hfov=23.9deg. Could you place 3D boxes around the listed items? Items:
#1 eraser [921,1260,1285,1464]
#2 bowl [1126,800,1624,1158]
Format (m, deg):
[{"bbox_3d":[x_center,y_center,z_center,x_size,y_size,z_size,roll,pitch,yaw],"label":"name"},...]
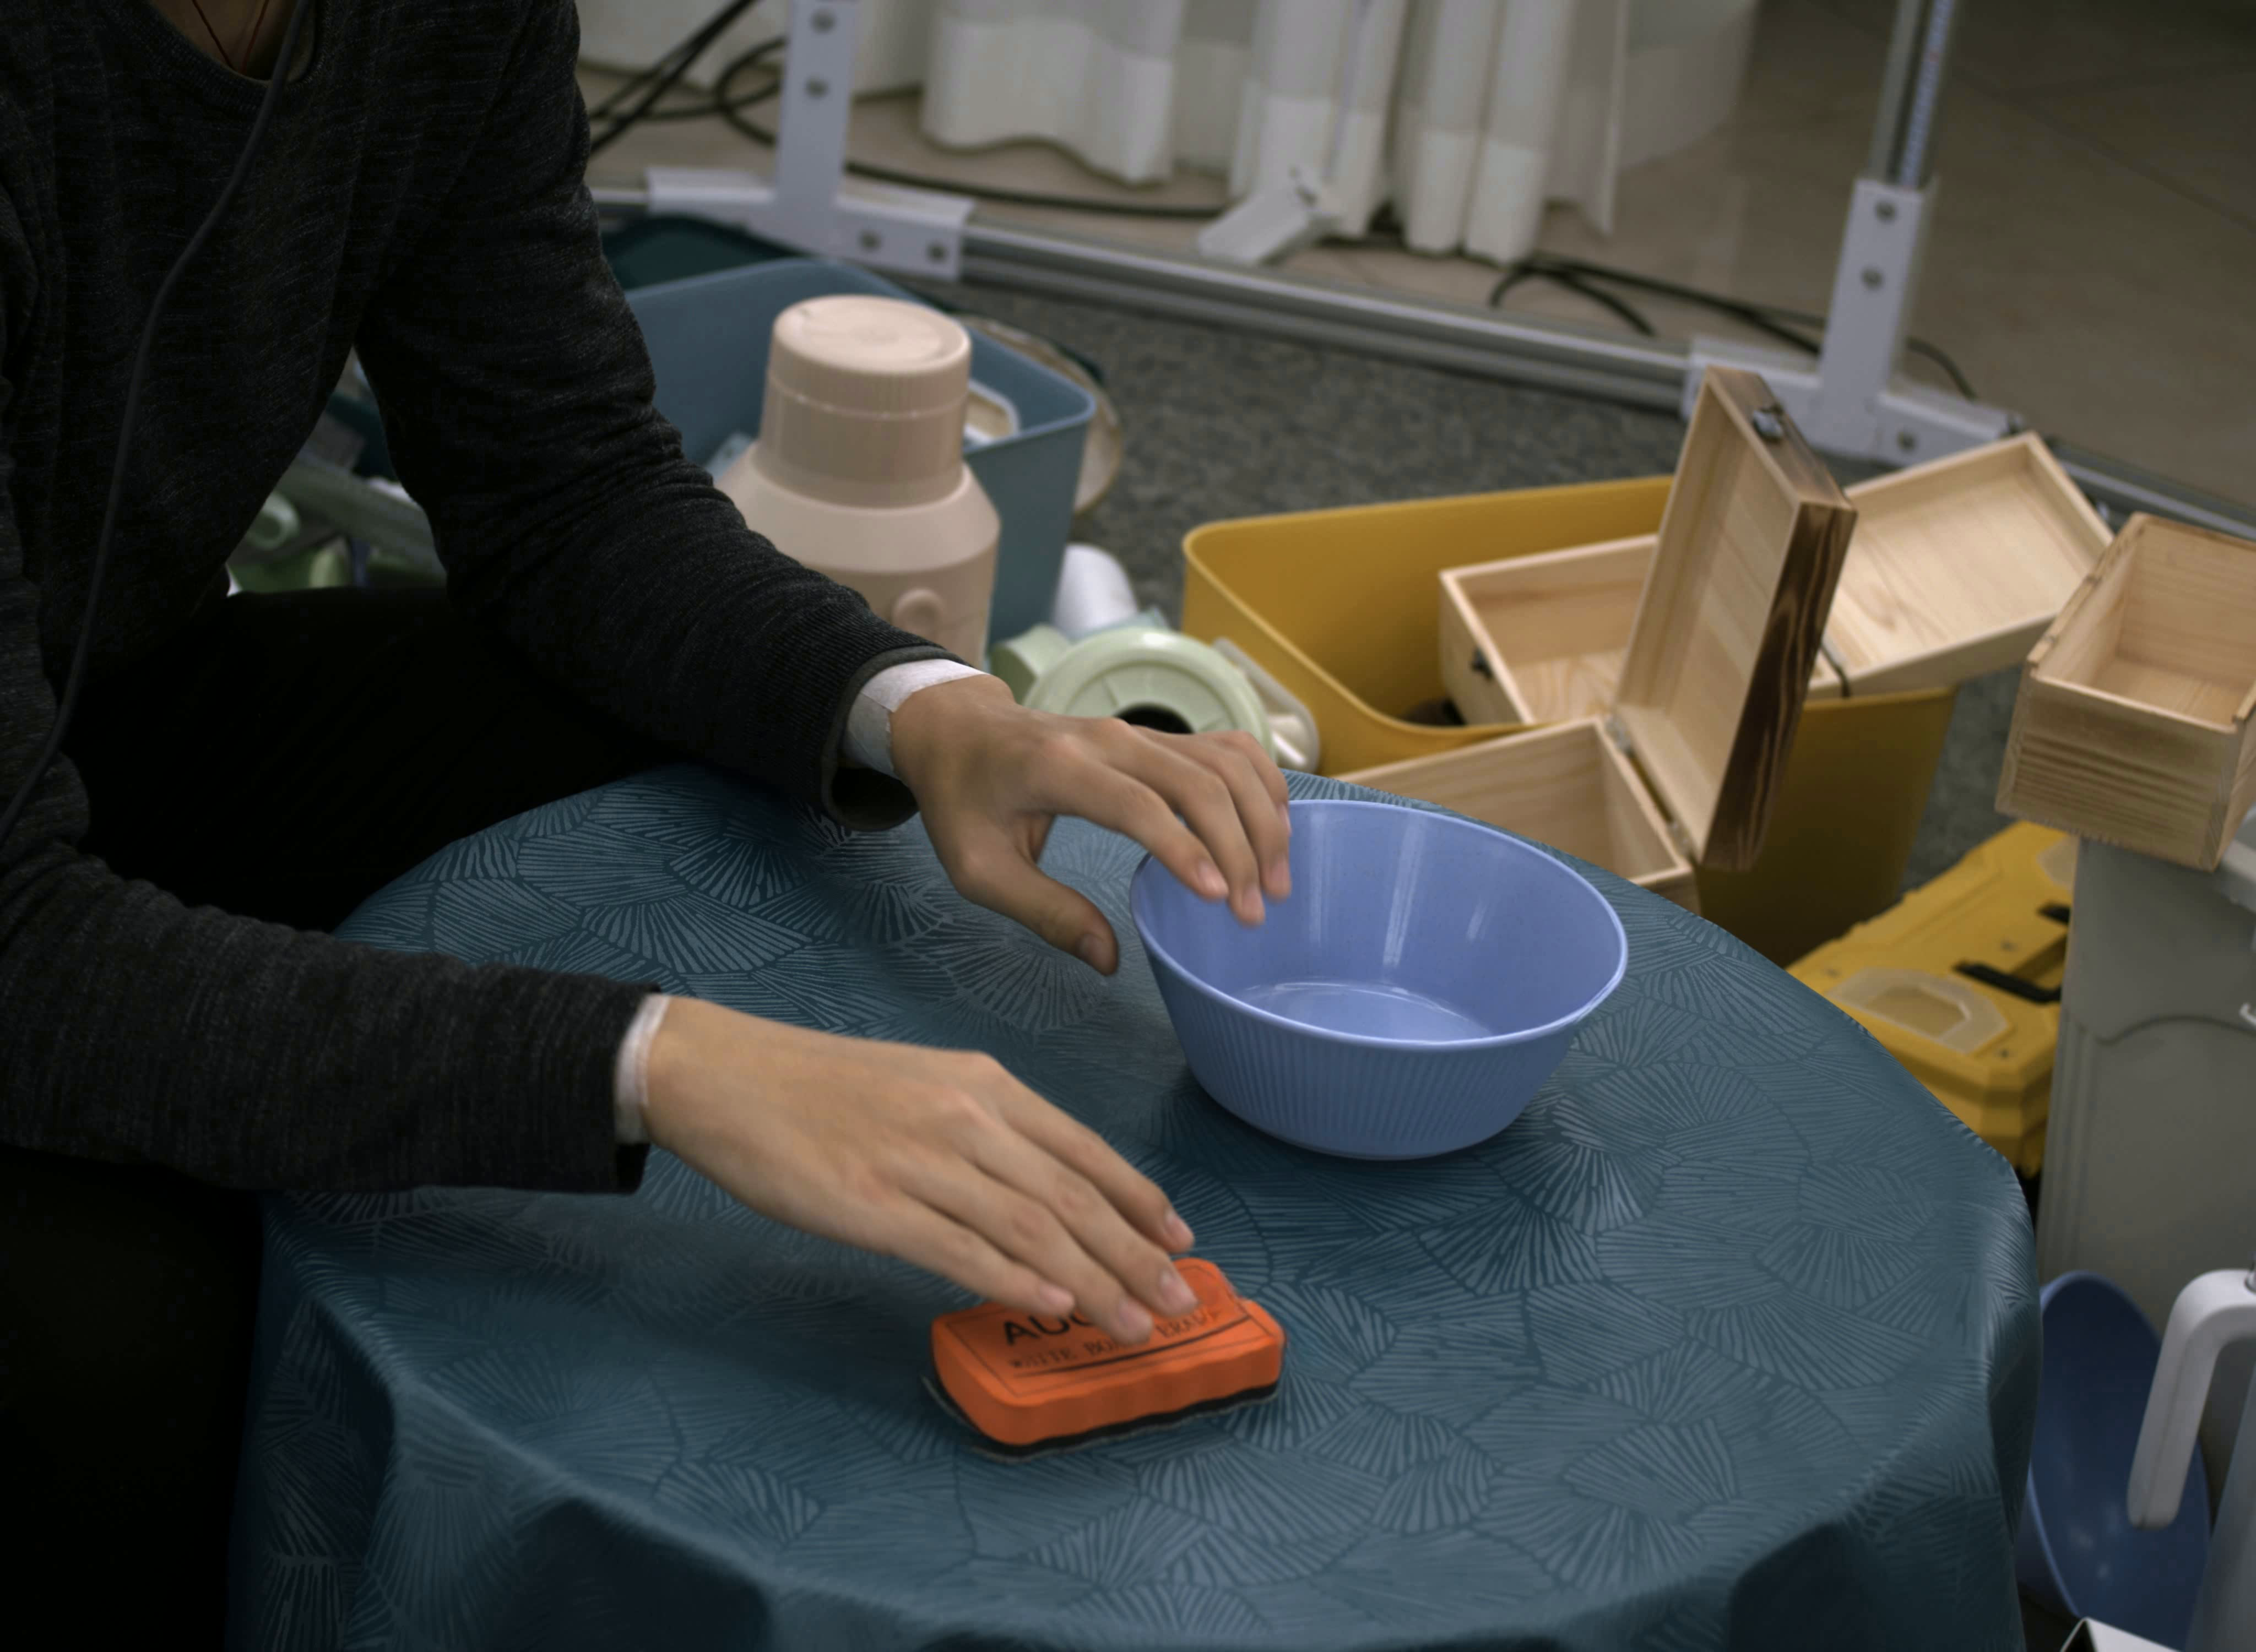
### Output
[{"bbox_3d":[-0.008,0.169,1.685,0.107,0.023,0.059,-10,33,-29],"label":"eraser"},{"bbox_3d":[0.083,0.059,1.869,0.175,0.070,0.177,5,27,-3],"label":"bowl"}]
